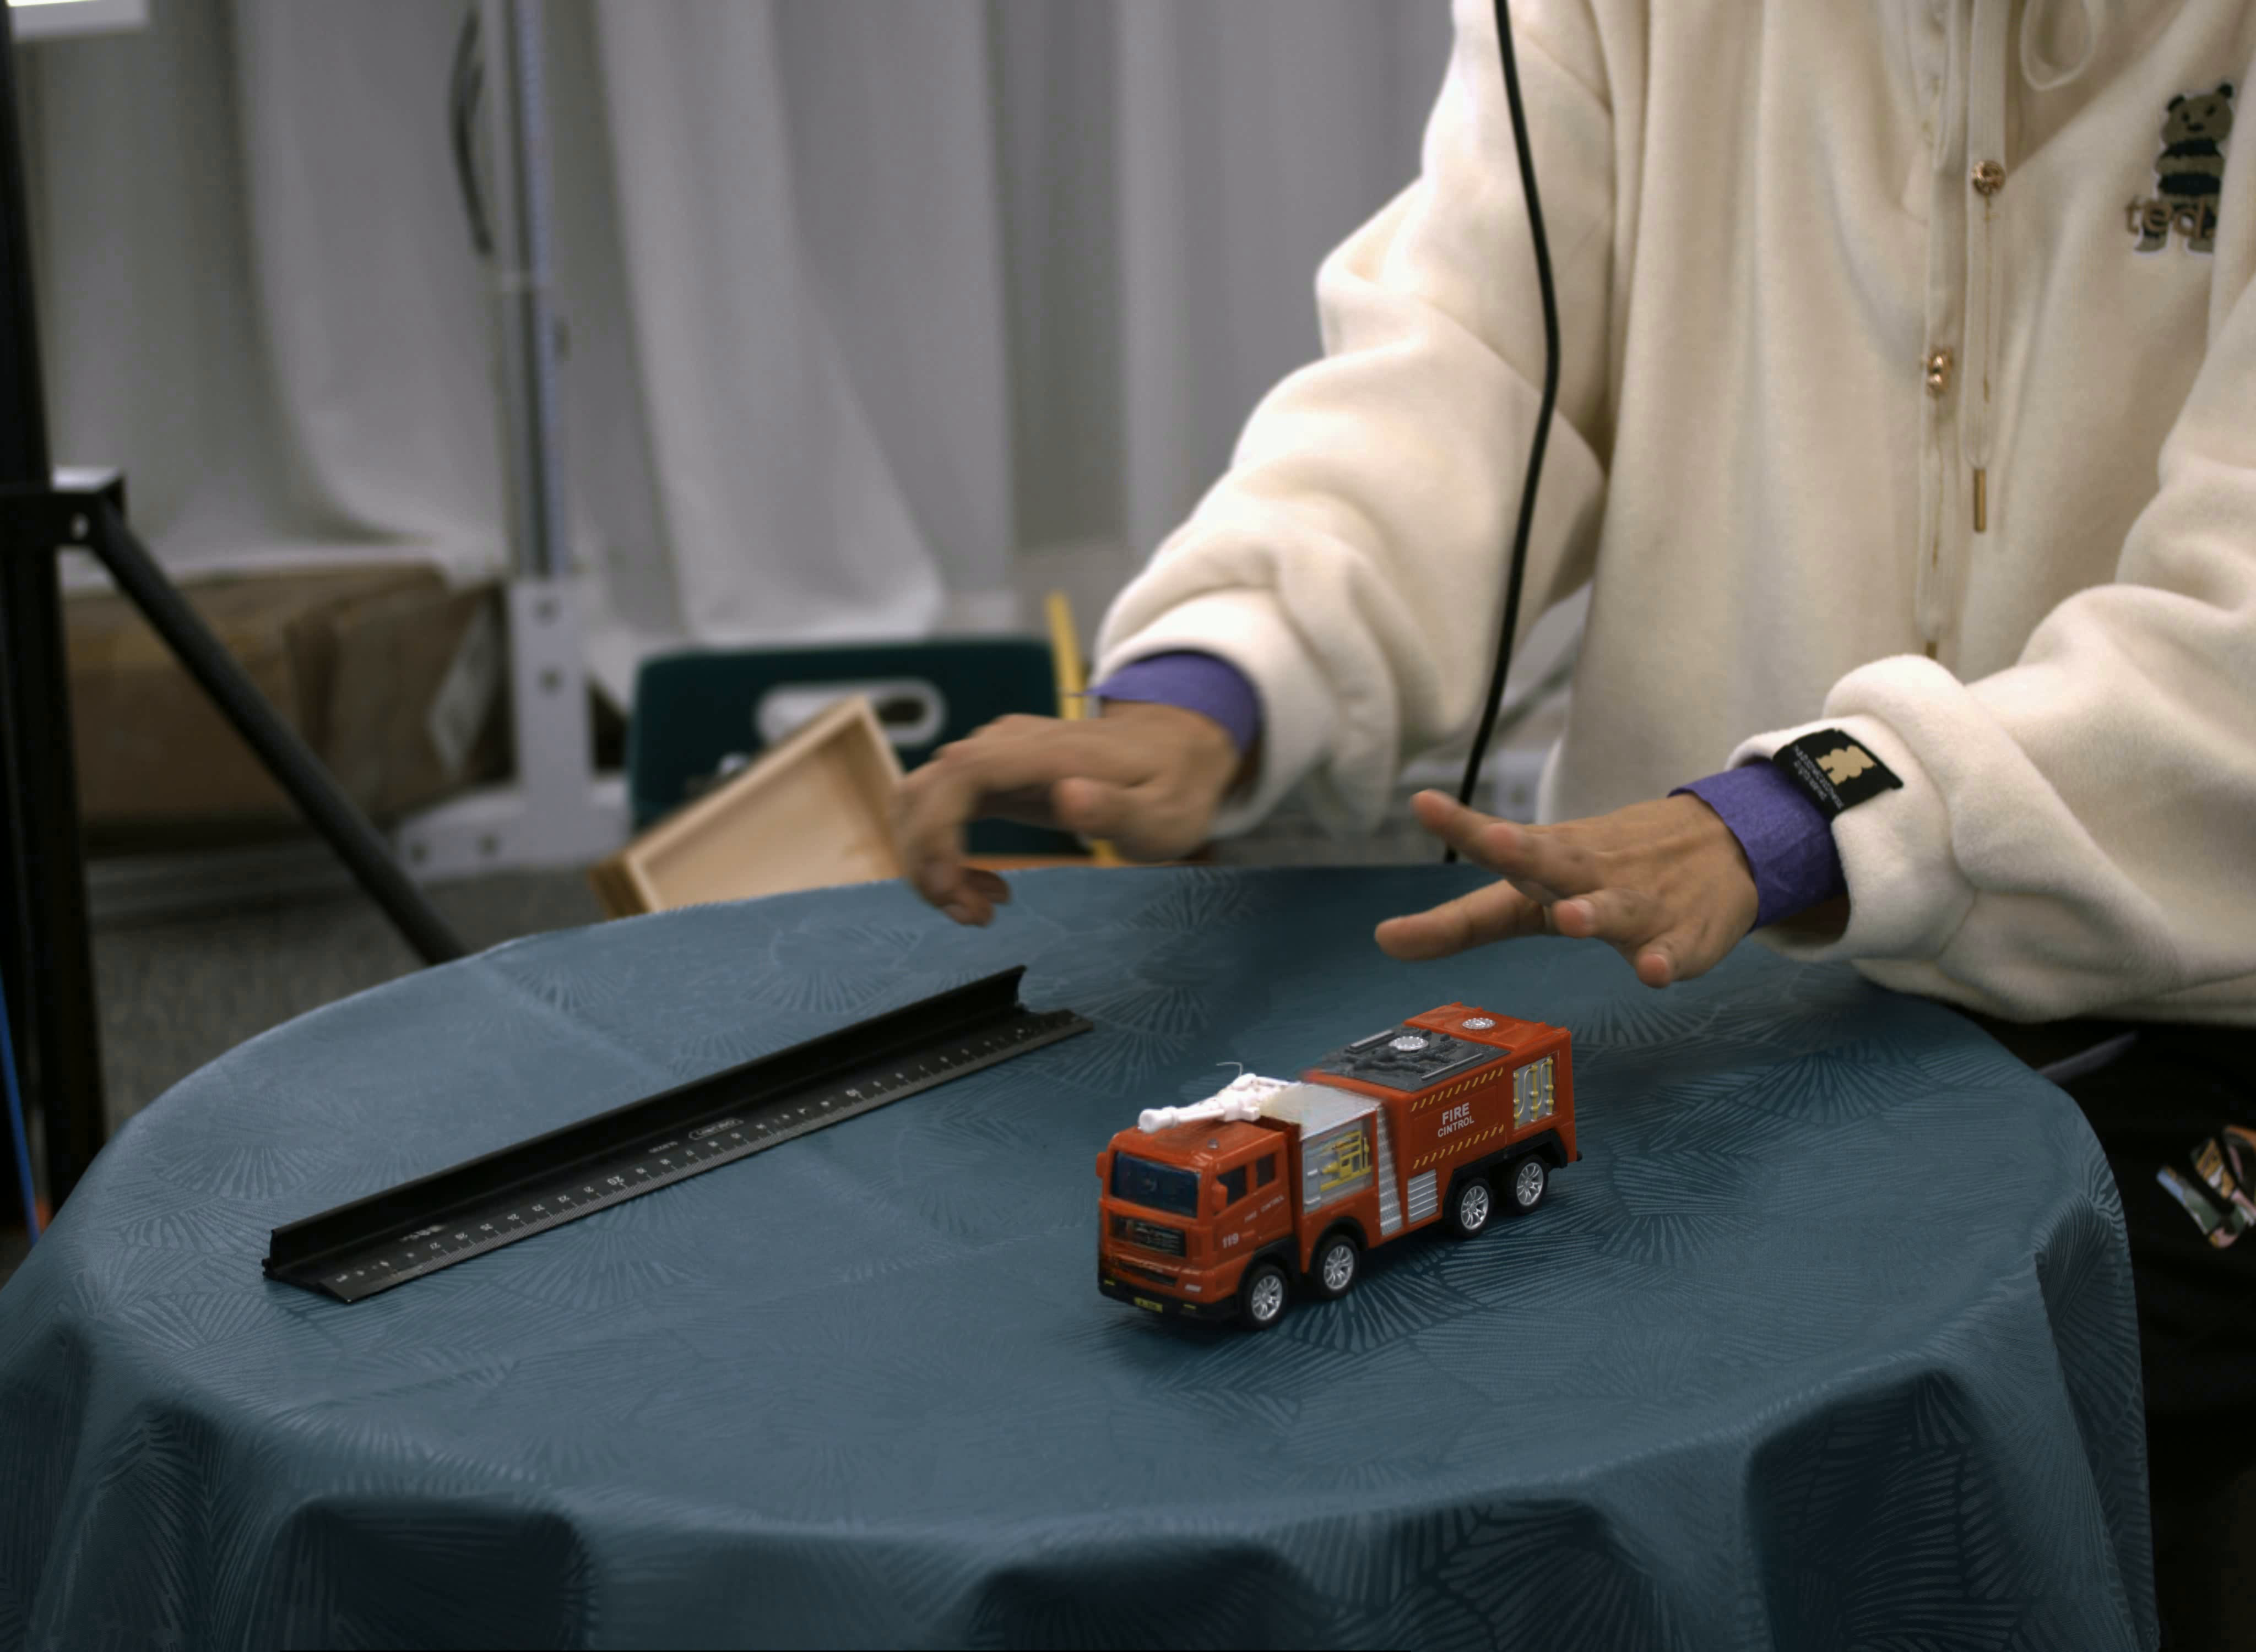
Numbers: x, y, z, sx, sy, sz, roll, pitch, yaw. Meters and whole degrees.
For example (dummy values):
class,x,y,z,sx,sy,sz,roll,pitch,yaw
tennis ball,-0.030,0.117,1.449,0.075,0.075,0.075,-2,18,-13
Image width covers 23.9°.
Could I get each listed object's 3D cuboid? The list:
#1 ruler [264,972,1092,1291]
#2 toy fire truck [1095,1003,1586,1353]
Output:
class,x,y,z,sx,sy,sz,roll,pitch,yaw
ruler,-0.129,0.090,1.615,0.040,0.017,0.305,17,24,41
toy fire truck,0.060,0.095,1.486,0.055,0.070,0.164,12,19,43
